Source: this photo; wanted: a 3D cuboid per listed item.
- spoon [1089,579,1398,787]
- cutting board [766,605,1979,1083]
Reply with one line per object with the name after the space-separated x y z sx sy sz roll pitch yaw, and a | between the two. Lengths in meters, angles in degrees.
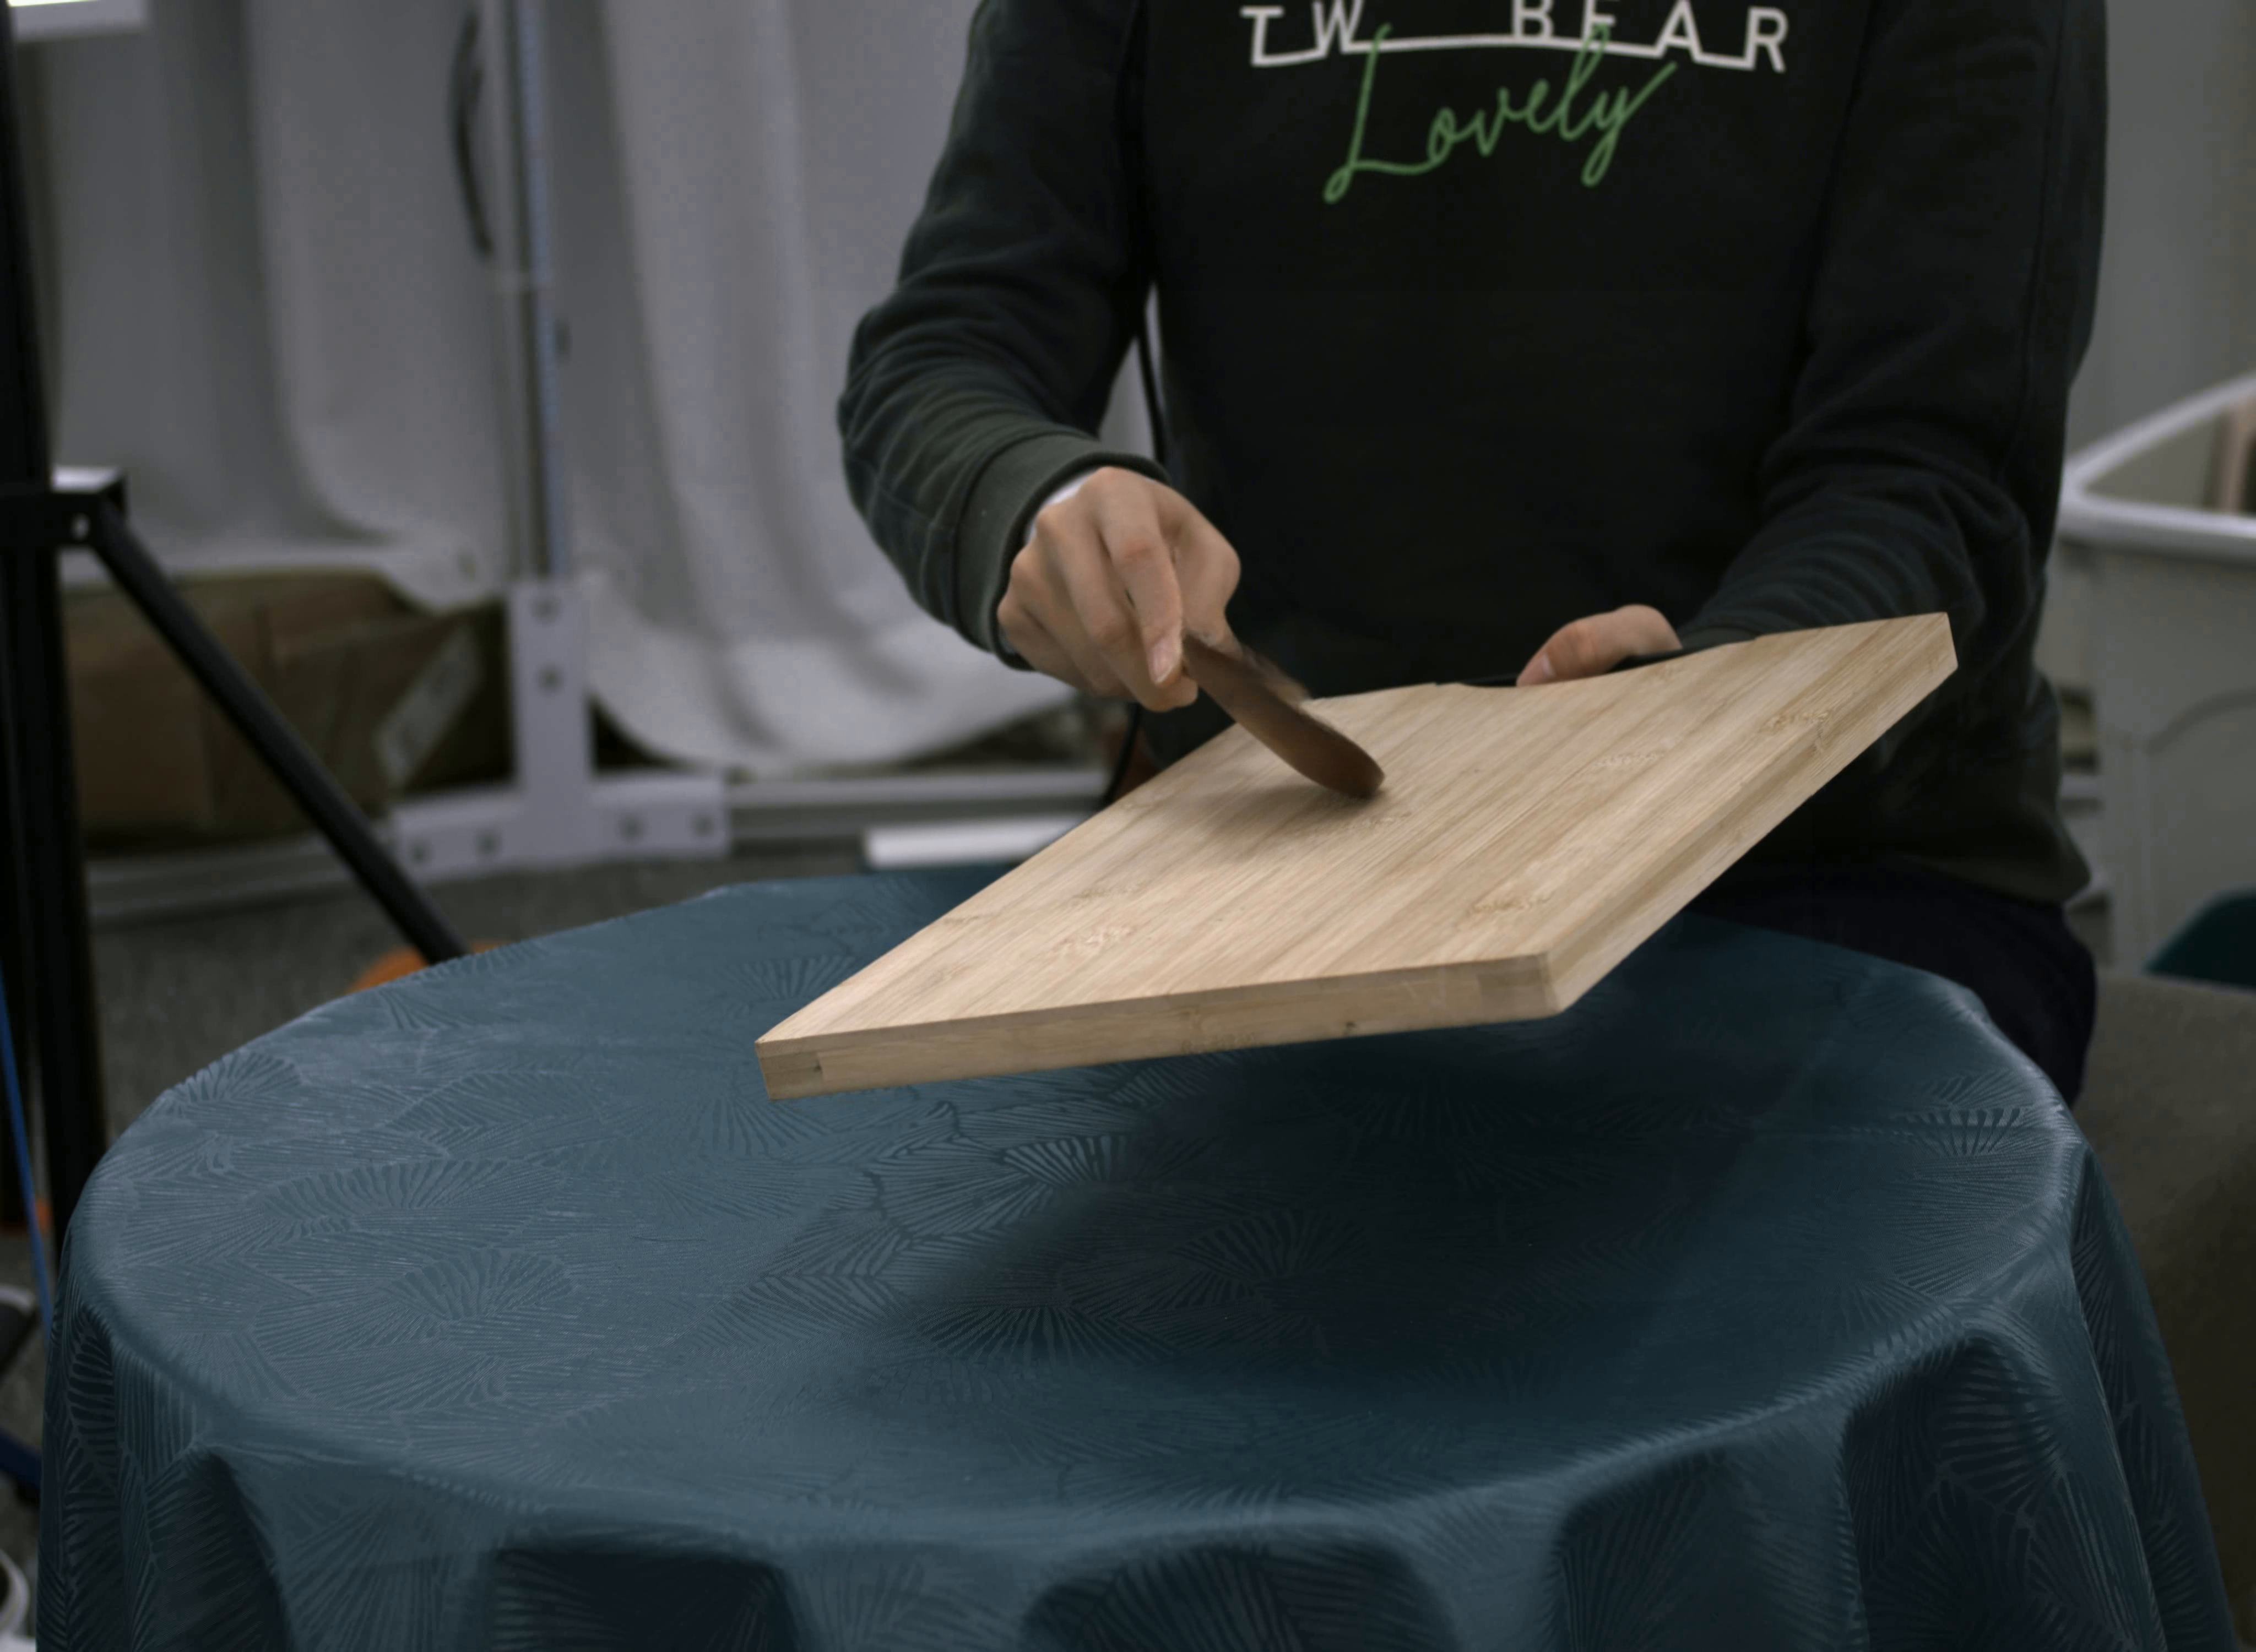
0.027 -0.047 1.623 0.074 0.017 0.219 40 -1 -20 | spoon
0.080 0.004 1.536 0.254 0.023 0.343 -7 14 28 | cutting board
